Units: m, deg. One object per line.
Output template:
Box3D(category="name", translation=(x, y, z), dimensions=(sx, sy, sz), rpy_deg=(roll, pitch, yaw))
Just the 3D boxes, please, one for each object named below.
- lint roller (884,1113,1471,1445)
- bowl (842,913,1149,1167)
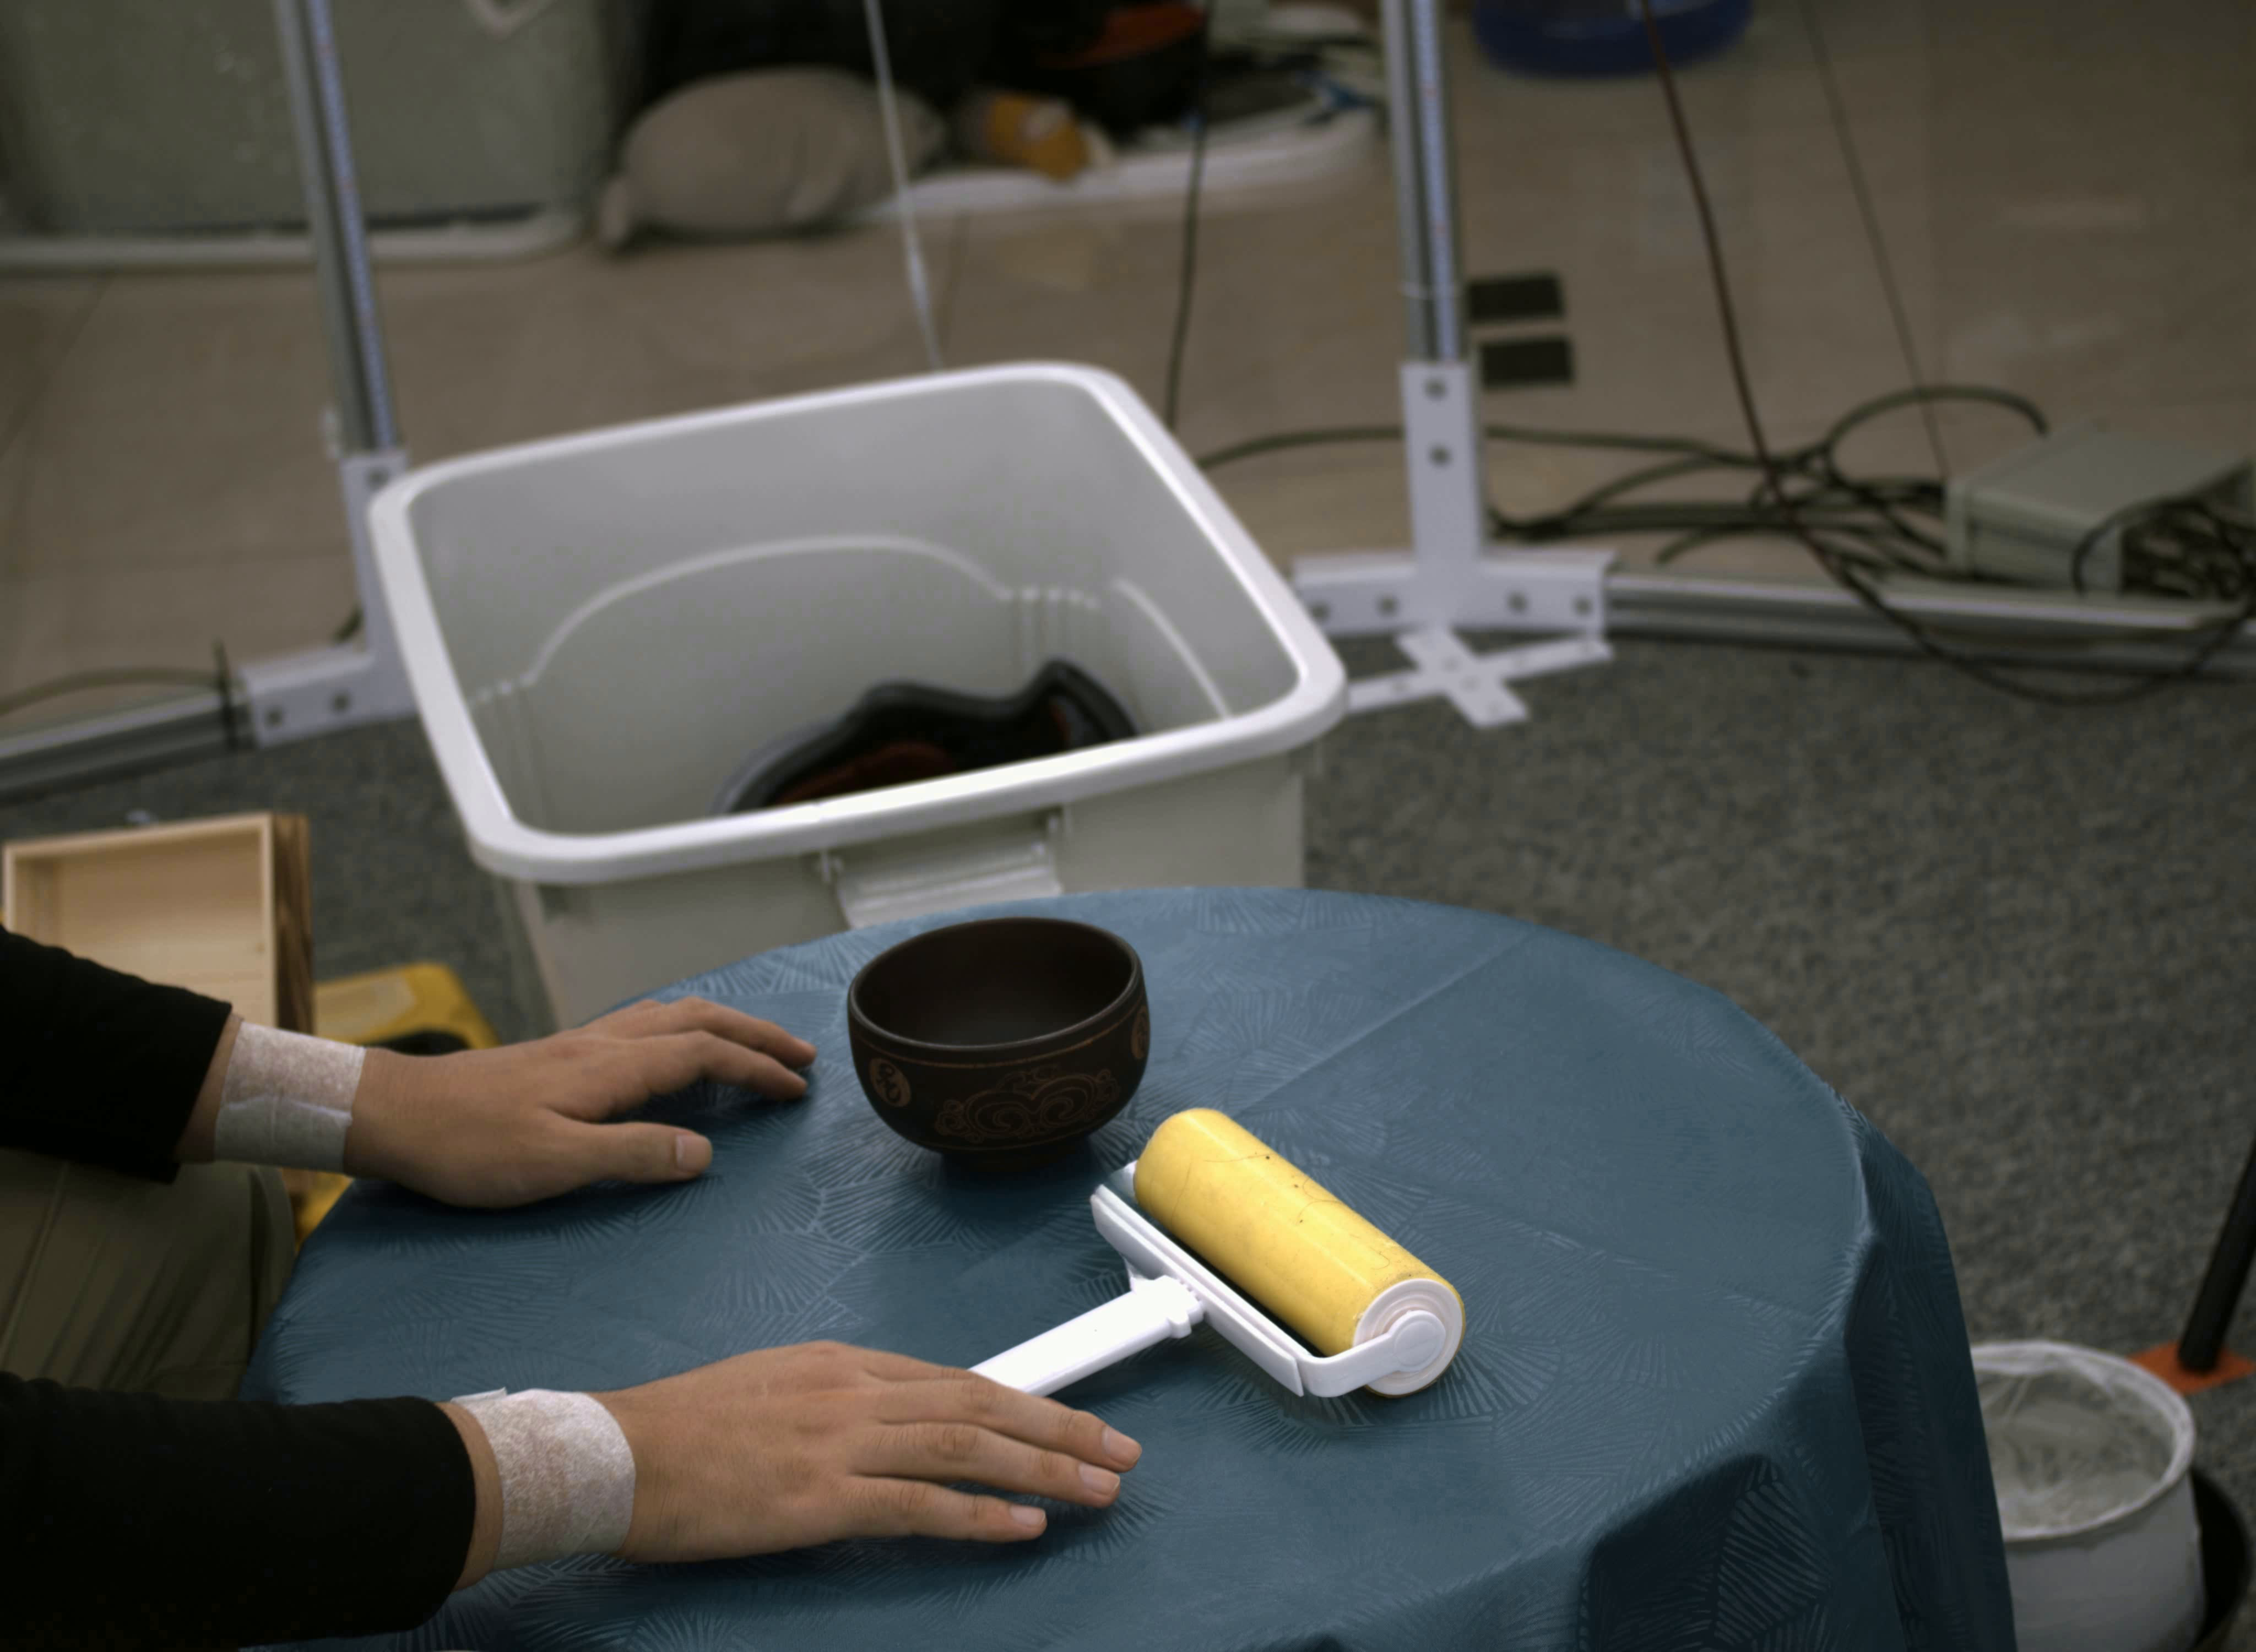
Box3D(category="lint roller", translation=(-0.001, 0.171, 2.016), dimensions=(0.191, 0.052, 0.172), rpy_deg=(-14, 25, -27))
Box3D(category="bowl", translation=(-0.049, 0.088, 2.180), dimensions=(0.118, 0.071, 0.116), rpy_deg=(-4, 24, 2))
